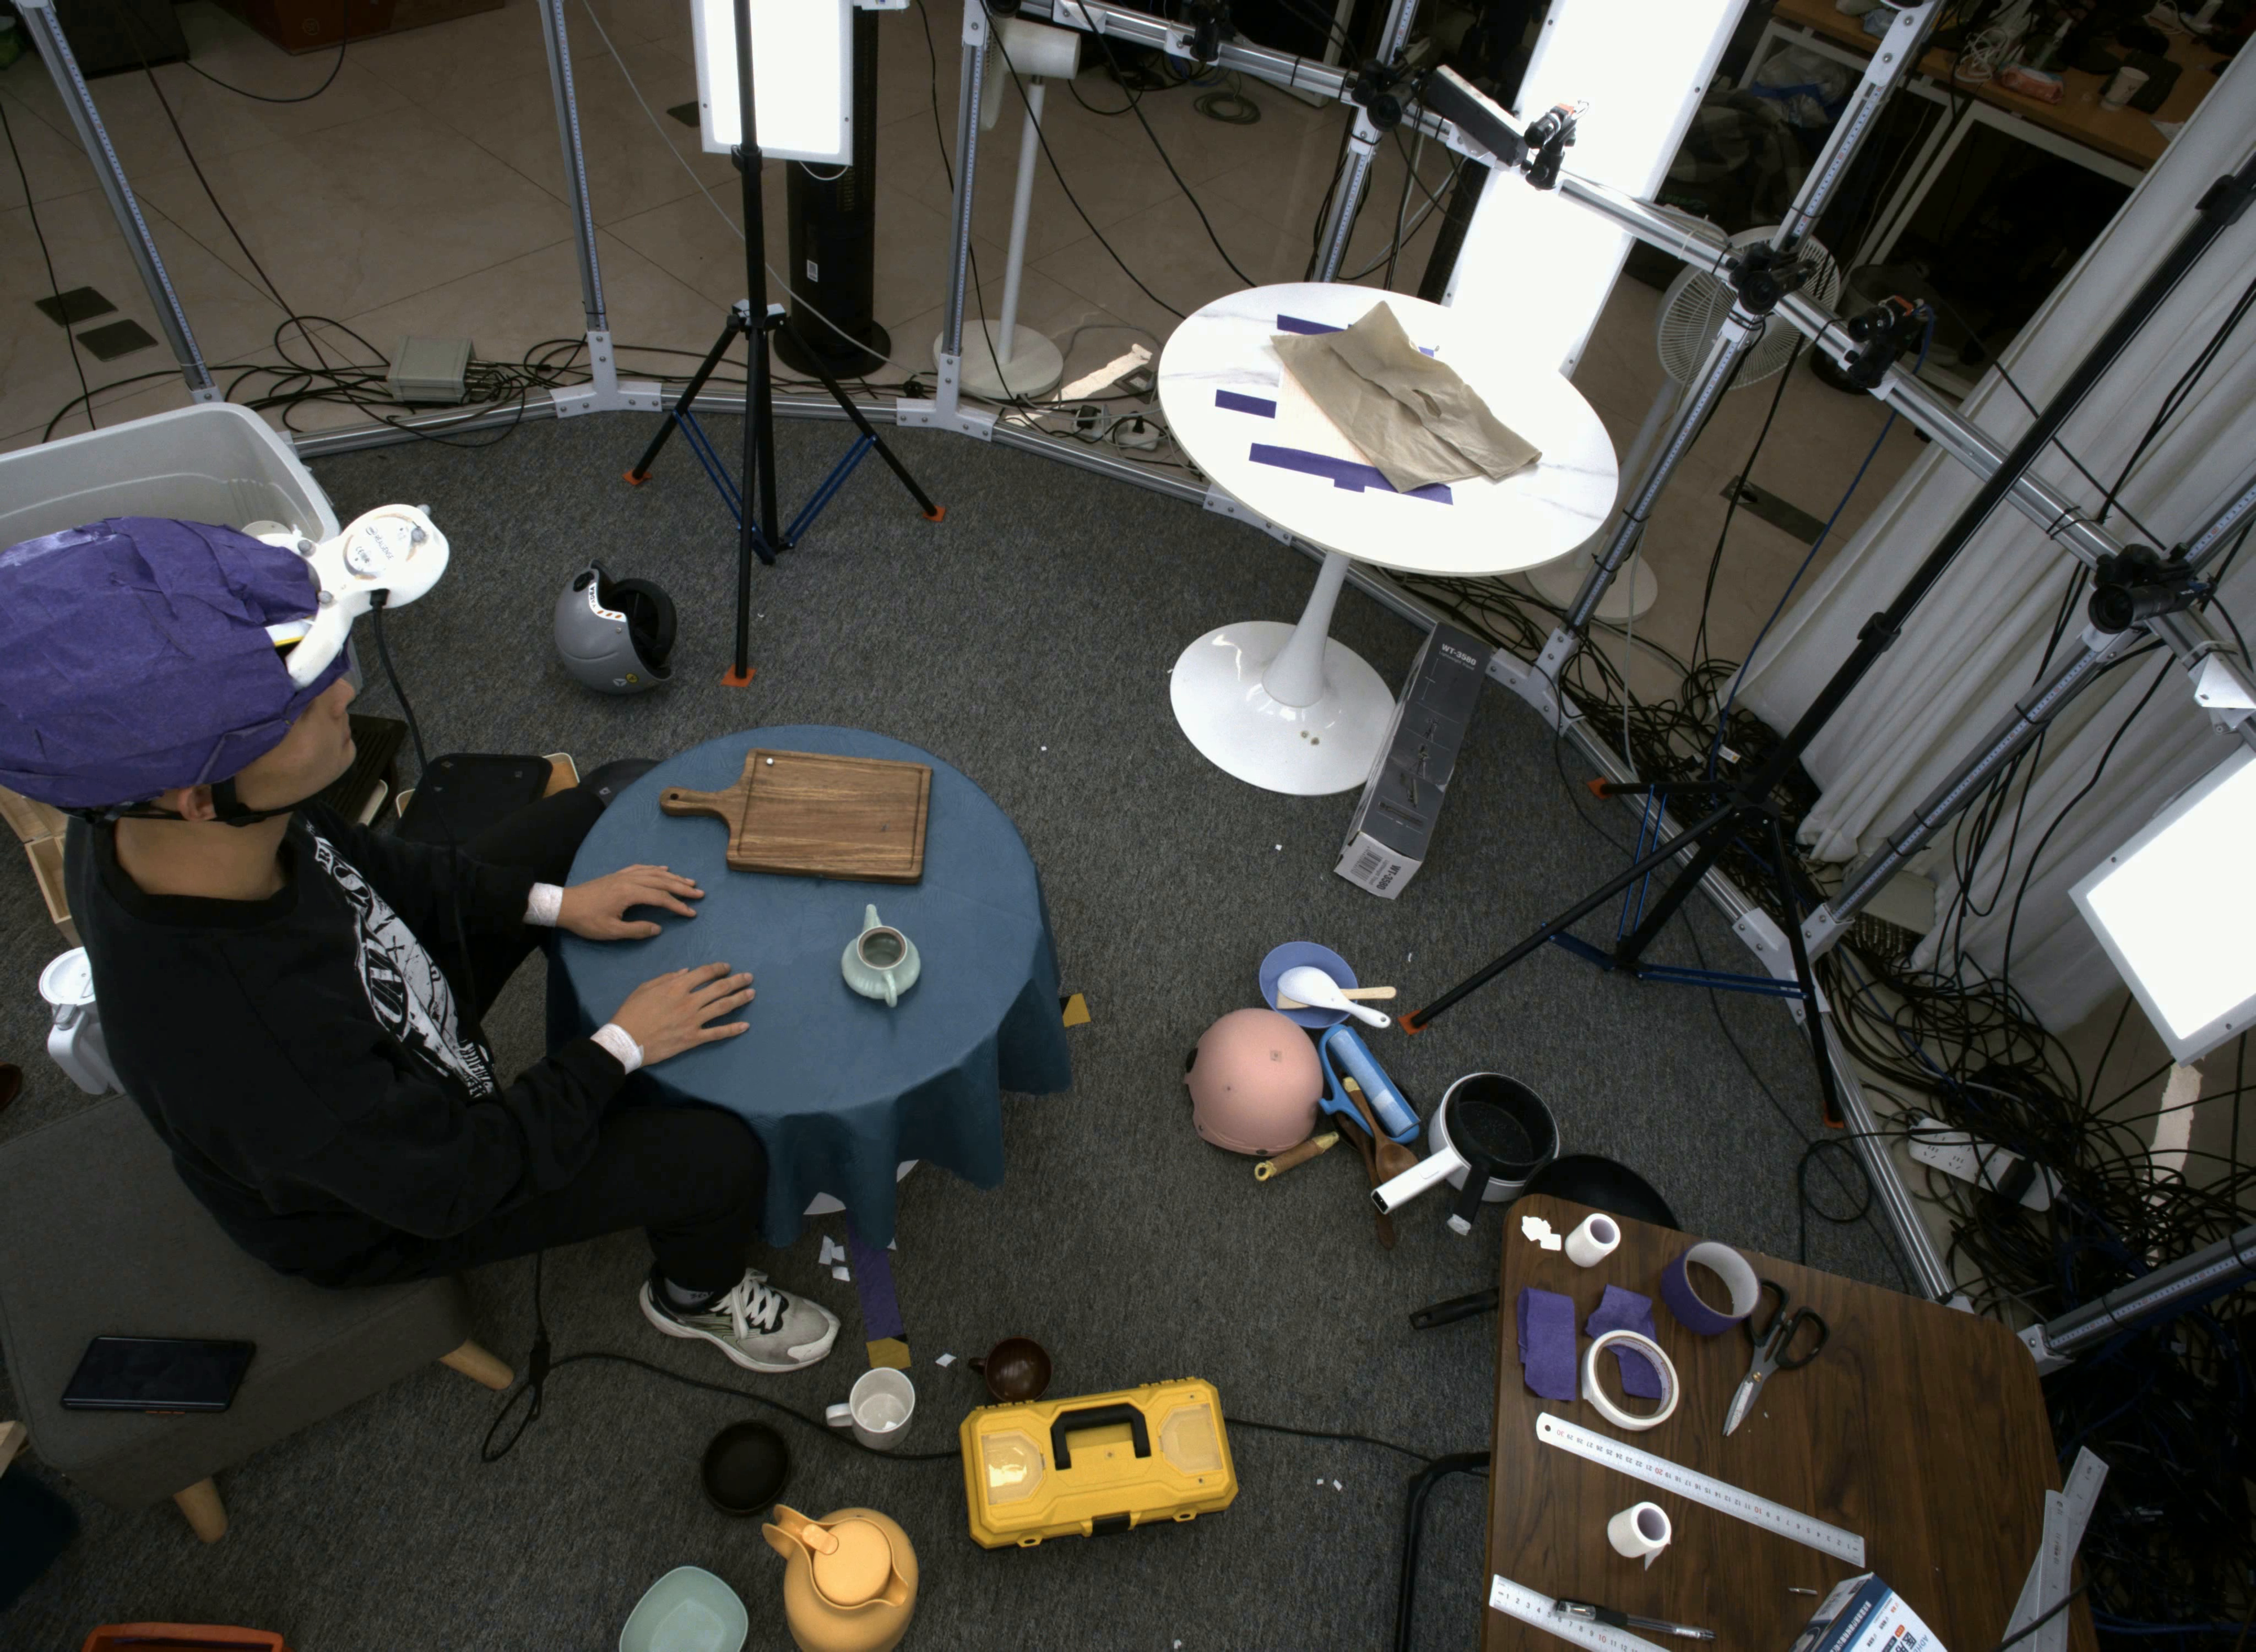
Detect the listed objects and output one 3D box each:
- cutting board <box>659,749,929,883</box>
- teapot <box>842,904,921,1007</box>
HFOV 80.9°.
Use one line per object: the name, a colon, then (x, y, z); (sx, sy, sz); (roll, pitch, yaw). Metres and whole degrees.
cutting board: (-0.442, -0.019, 1.717); (0.352, 0.023, 0.197); (5, 53, -12)
teapot: (-0.300, 0.164, 1.592); (0.097, 0.062, 0.133); (-12, 57, -23)
